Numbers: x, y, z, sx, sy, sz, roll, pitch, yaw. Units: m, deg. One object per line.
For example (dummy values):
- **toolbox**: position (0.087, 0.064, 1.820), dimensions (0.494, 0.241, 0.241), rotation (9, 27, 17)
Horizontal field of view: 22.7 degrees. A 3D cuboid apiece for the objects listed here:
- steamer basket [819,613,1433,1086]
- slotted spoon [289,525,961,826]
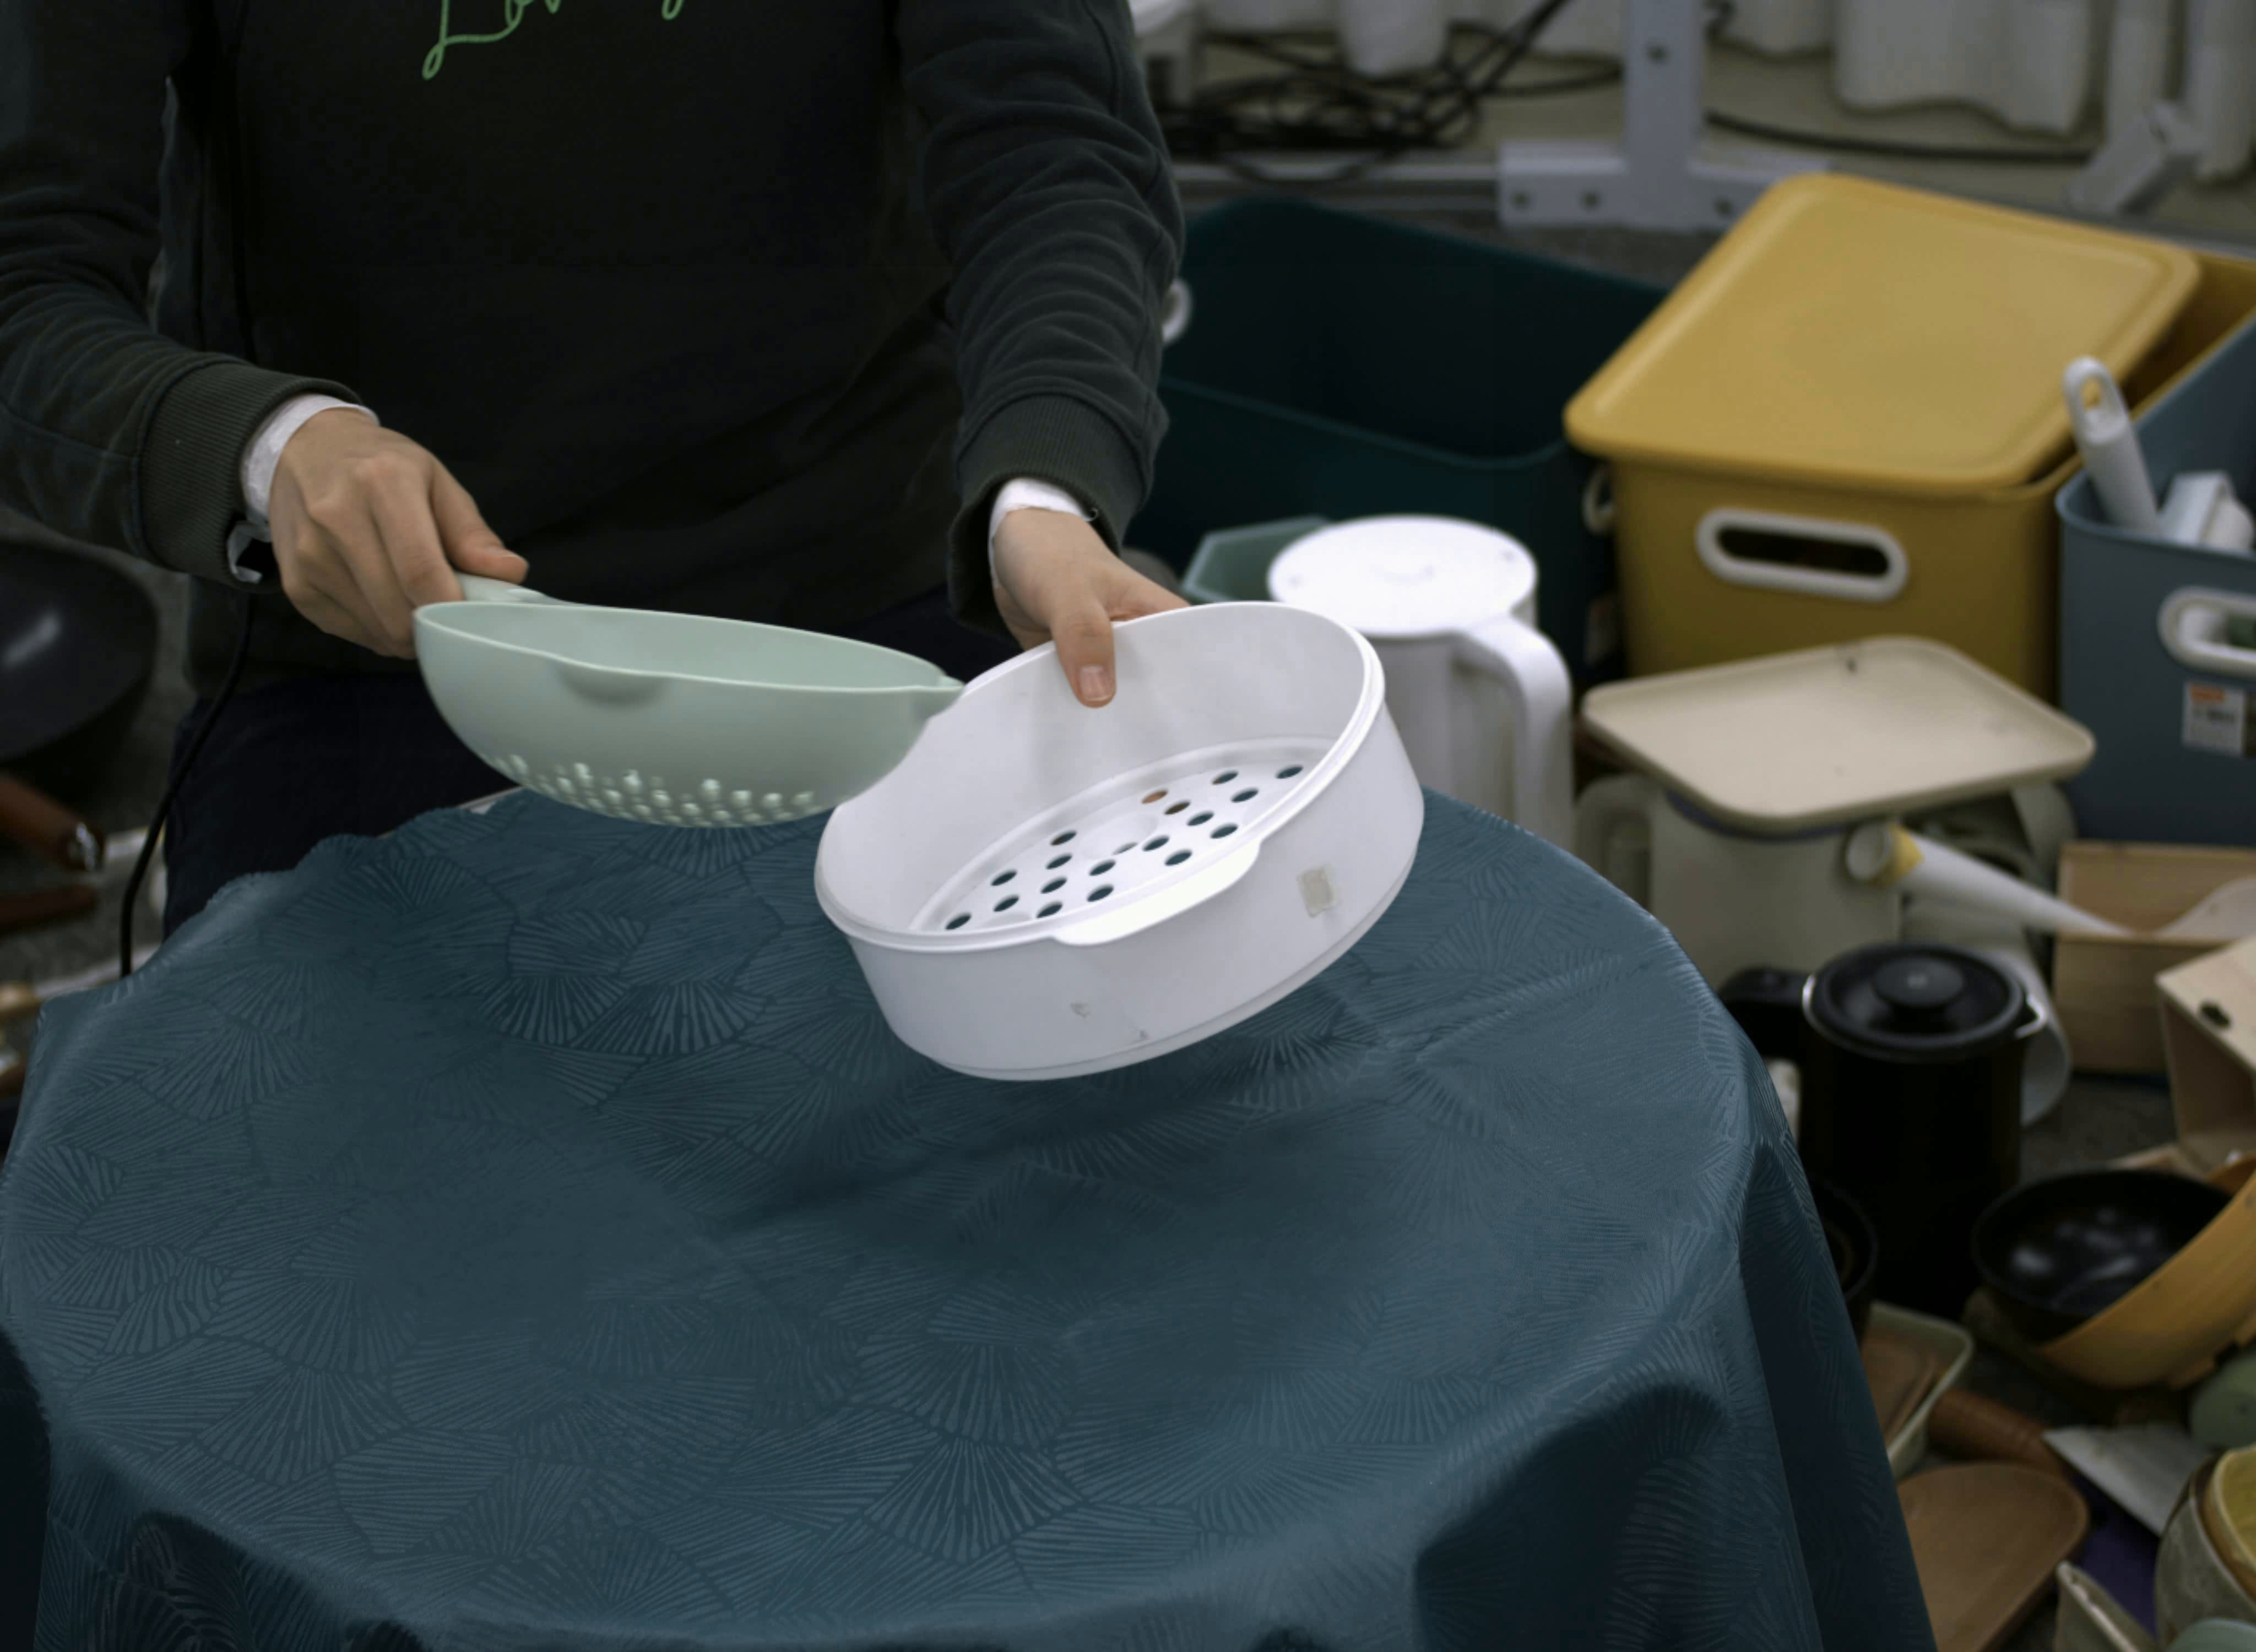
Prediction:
- **steamer basket**: position (0.002, 0.009, 1.850), dimensions (0.202, 0.068, 0.232), rotation (-23, 26, -4)
- **slotted spoon**: position (-0.197, -0.064, 1.860), dimensions (0.169, 0.075, 0.359), rotation (4, 16, -34)
